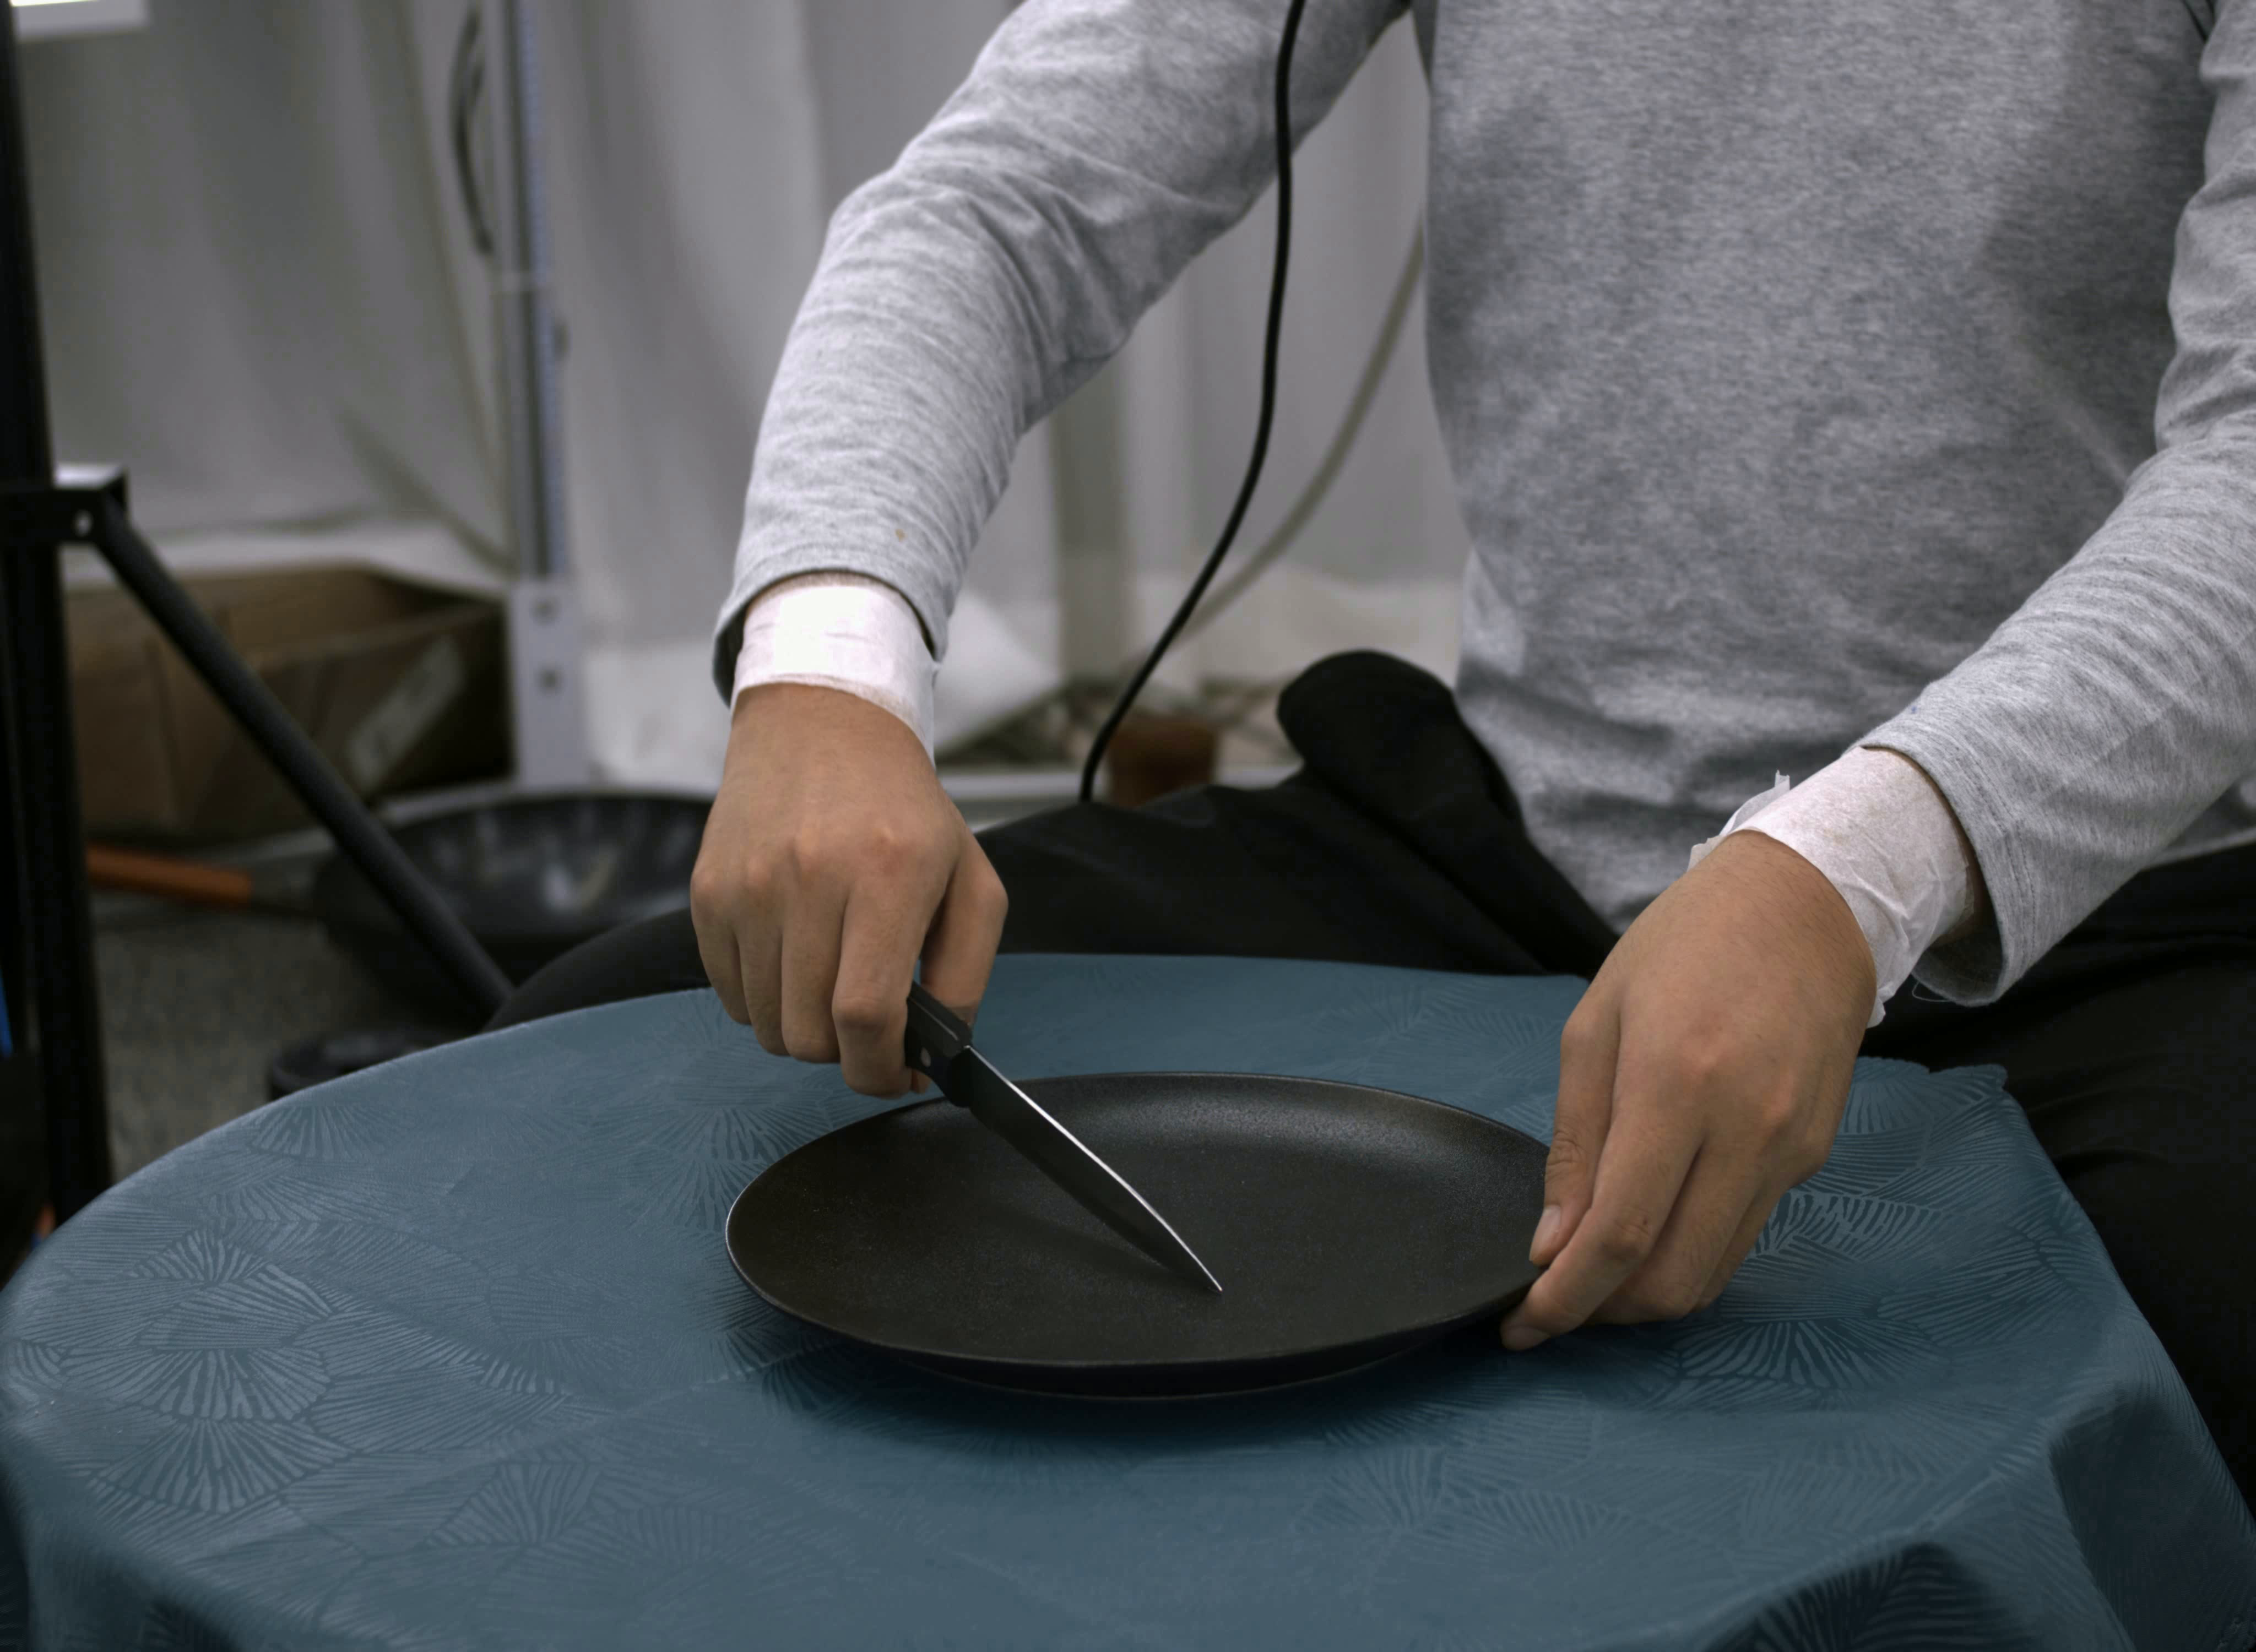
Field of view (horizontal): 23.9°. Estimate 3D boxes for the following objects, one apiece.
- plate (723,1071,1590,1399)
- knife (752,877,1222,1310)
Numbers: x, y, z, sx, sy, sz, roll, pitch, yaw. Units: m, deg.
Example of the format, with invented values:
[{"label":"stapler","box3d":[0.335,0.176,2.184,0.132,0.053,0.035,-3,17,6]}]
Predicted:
[{"label":"plate","box3d":[0.008,0.117,1.487,0.243,0.023,0.245,-3,16,-1]},{"label":"knife","box3d":[-0.042,0.074,1.536,0.016,0.024,0.244,-17,37,-30]}]
